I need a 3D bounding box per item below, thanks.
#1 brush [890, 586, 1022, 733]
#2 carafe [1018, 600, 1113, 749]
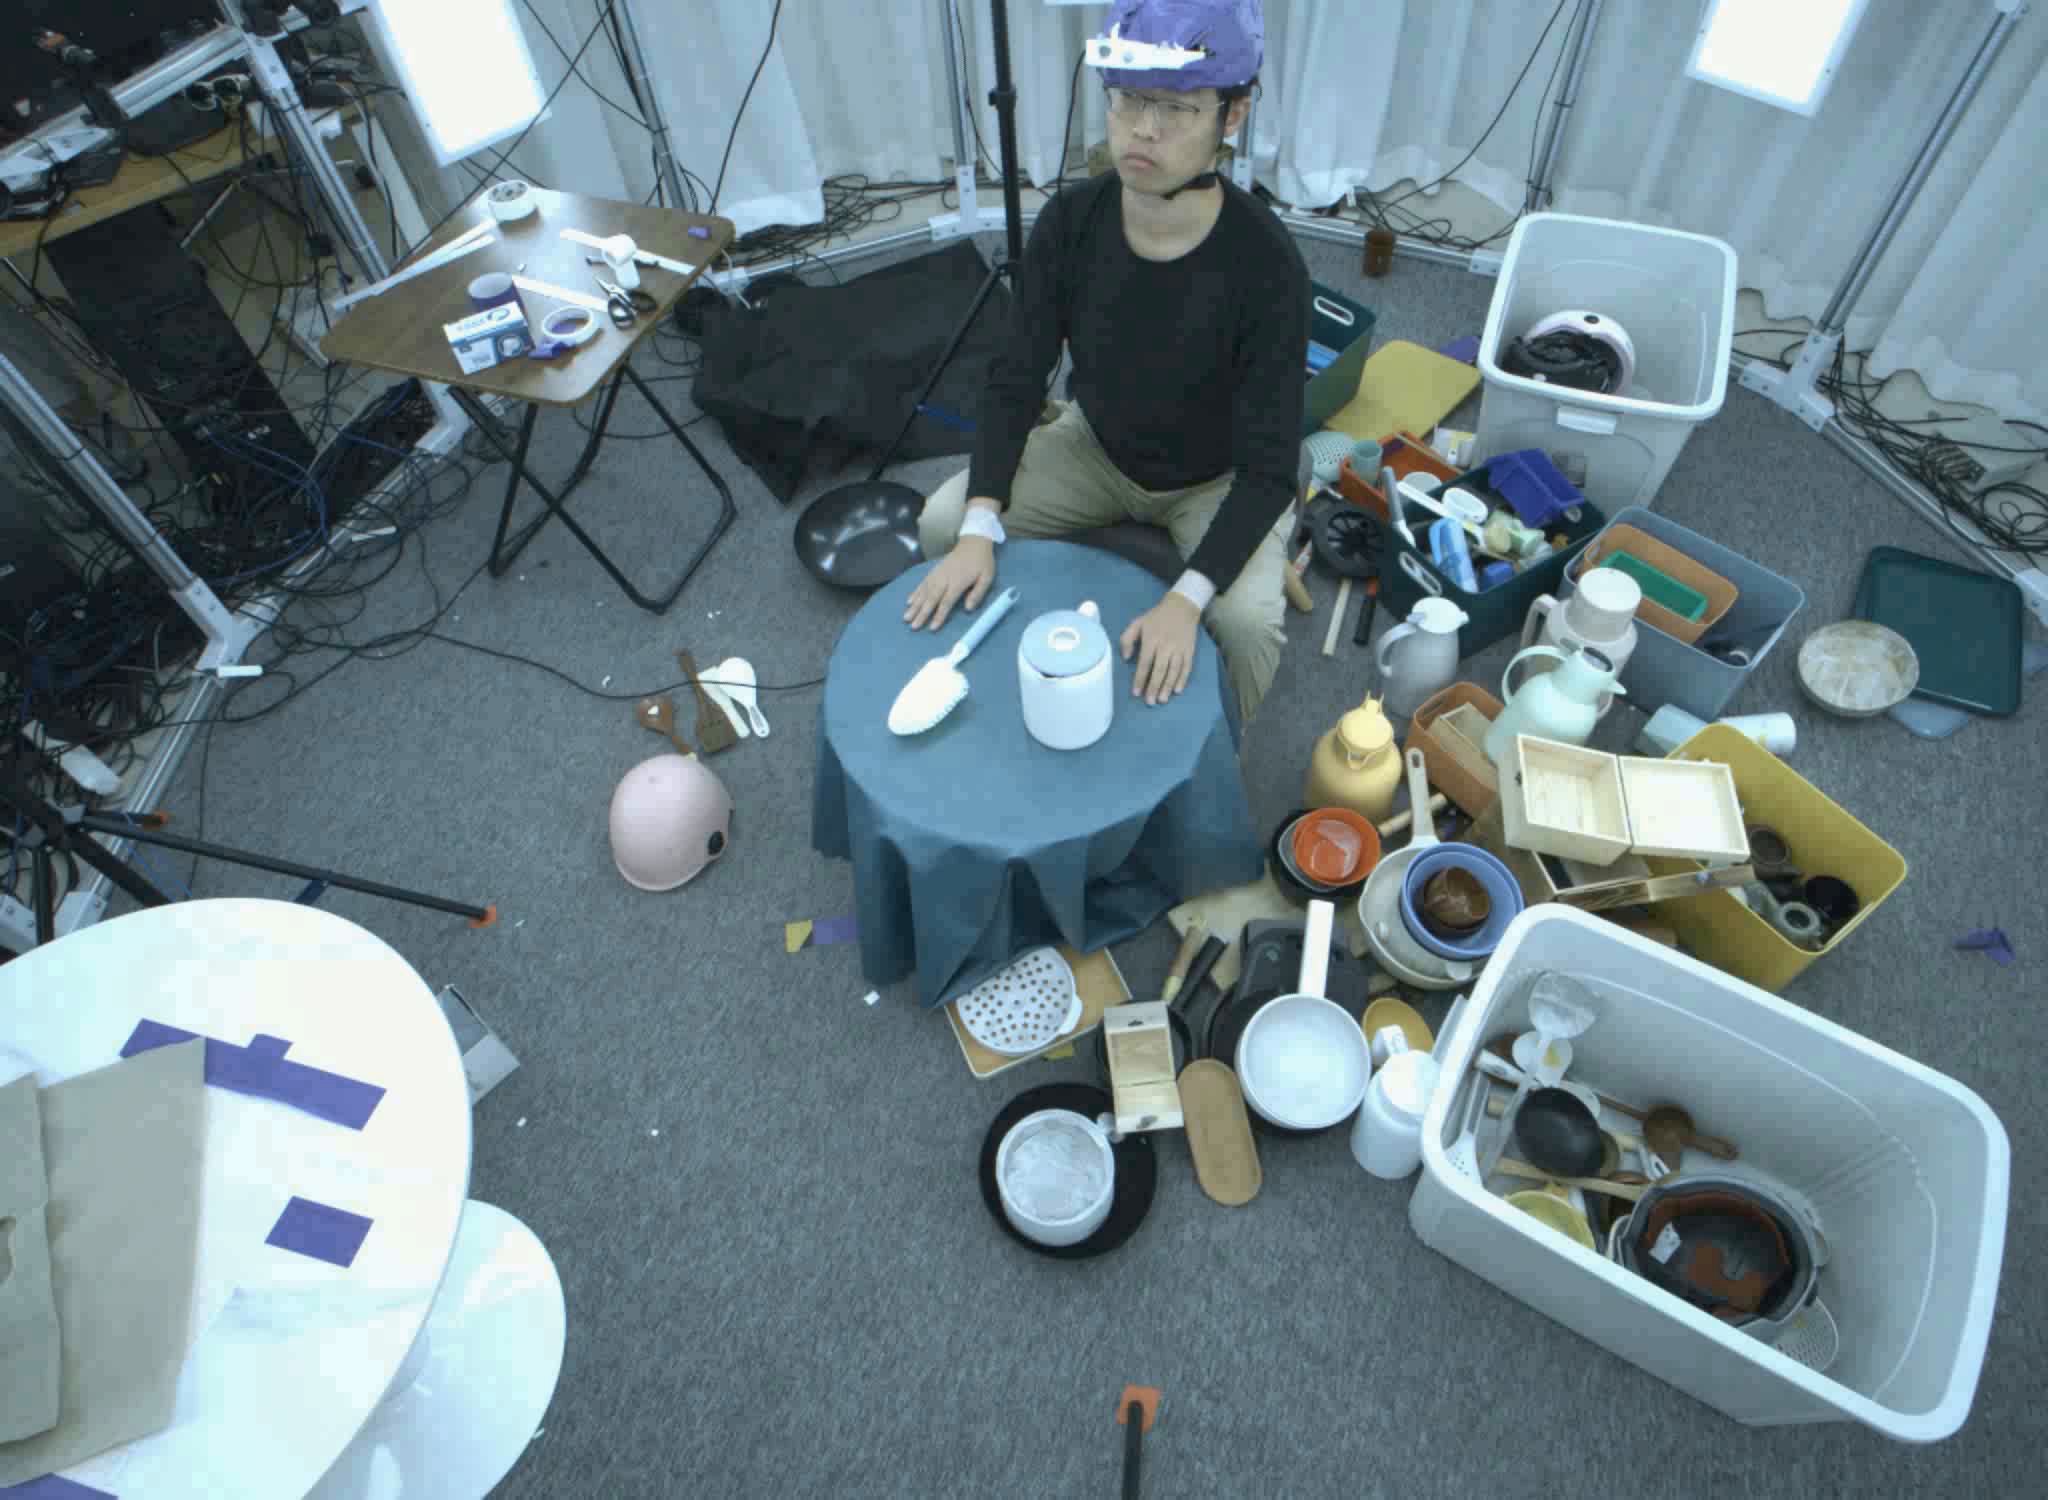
[{"bbox_3d":[-0.088,-0.147,1.845,0.083,0.084,0.327,25,60,27],"label":"brush"},{"bbox_3d":[0.069,-0.118,1.763,0.131,0.184,0.191,15,56,13],"label":"carafe"}]
